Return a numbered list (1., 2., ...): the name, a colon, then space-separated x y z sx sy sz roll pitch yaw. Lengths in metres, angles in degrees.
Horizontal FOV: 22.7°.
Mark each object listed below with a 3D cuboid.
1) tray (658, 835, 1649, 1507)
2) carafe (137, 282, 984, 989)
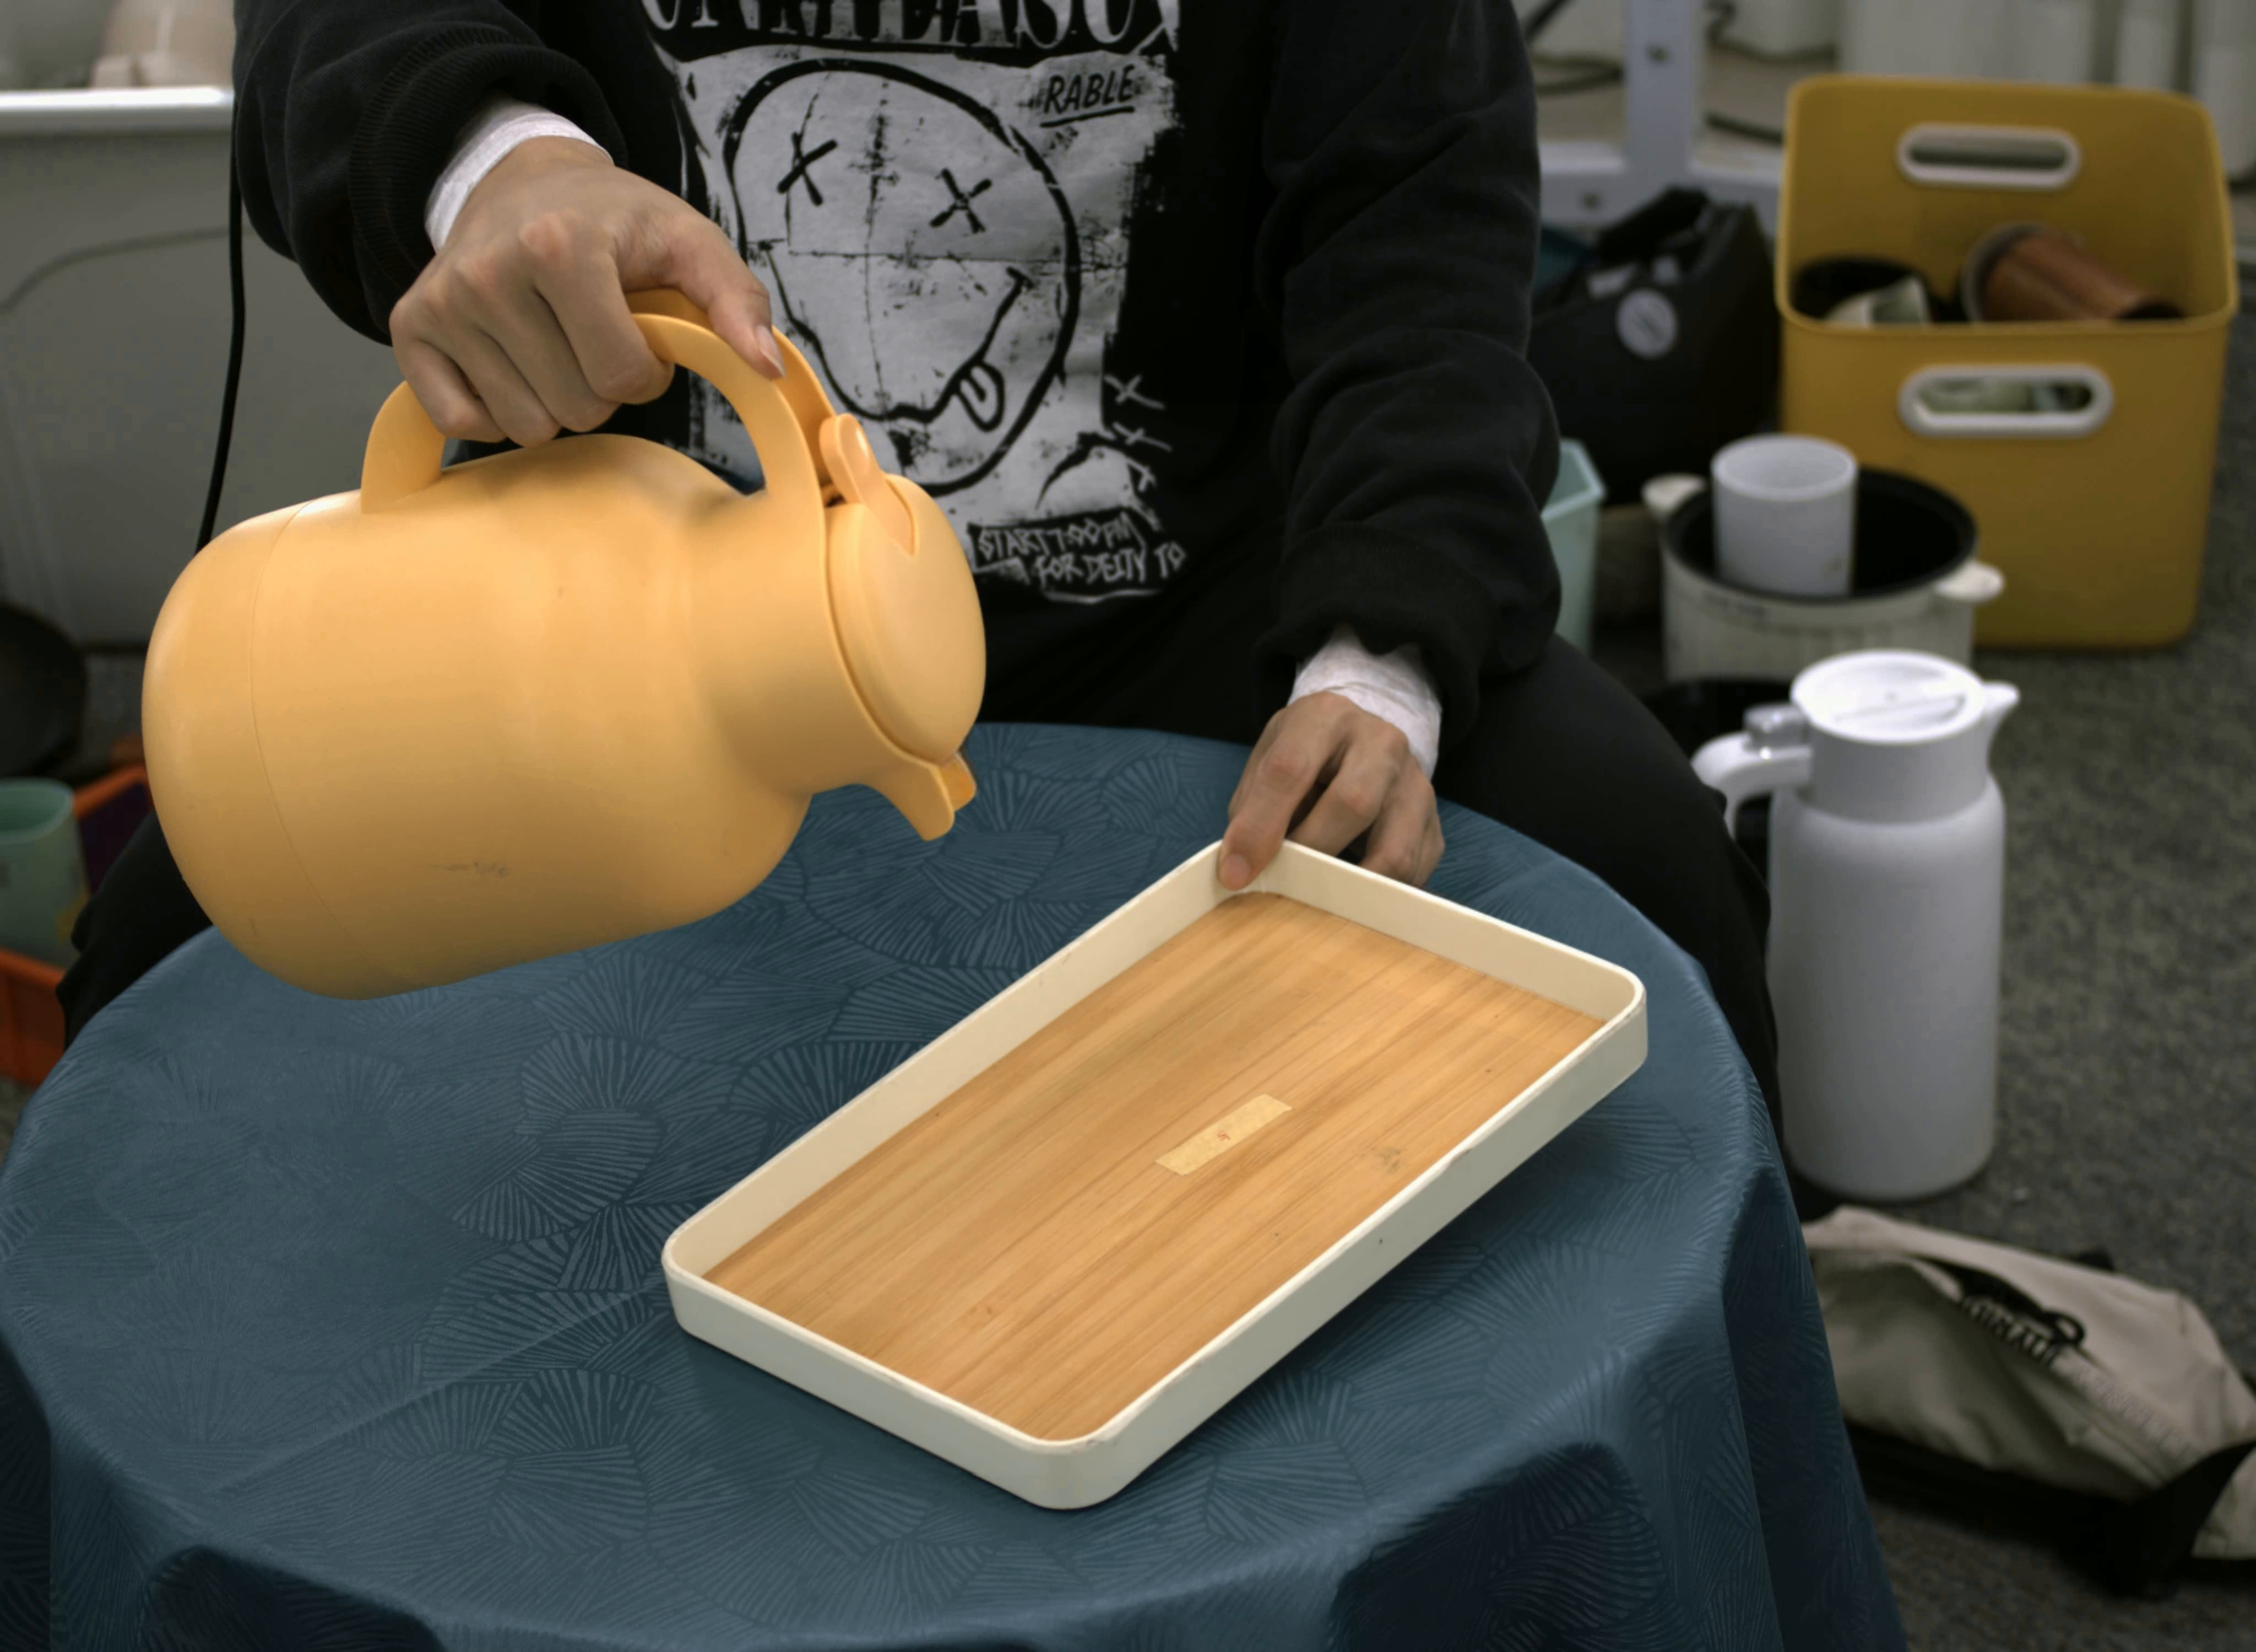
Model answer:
1. tray: 0.012 0.105 1.829 0.191 0.027 0.304 21 41 37
2. carafe: -0.181 -0.063 1.789 0.257 0.201 0.166 -12 17 21
